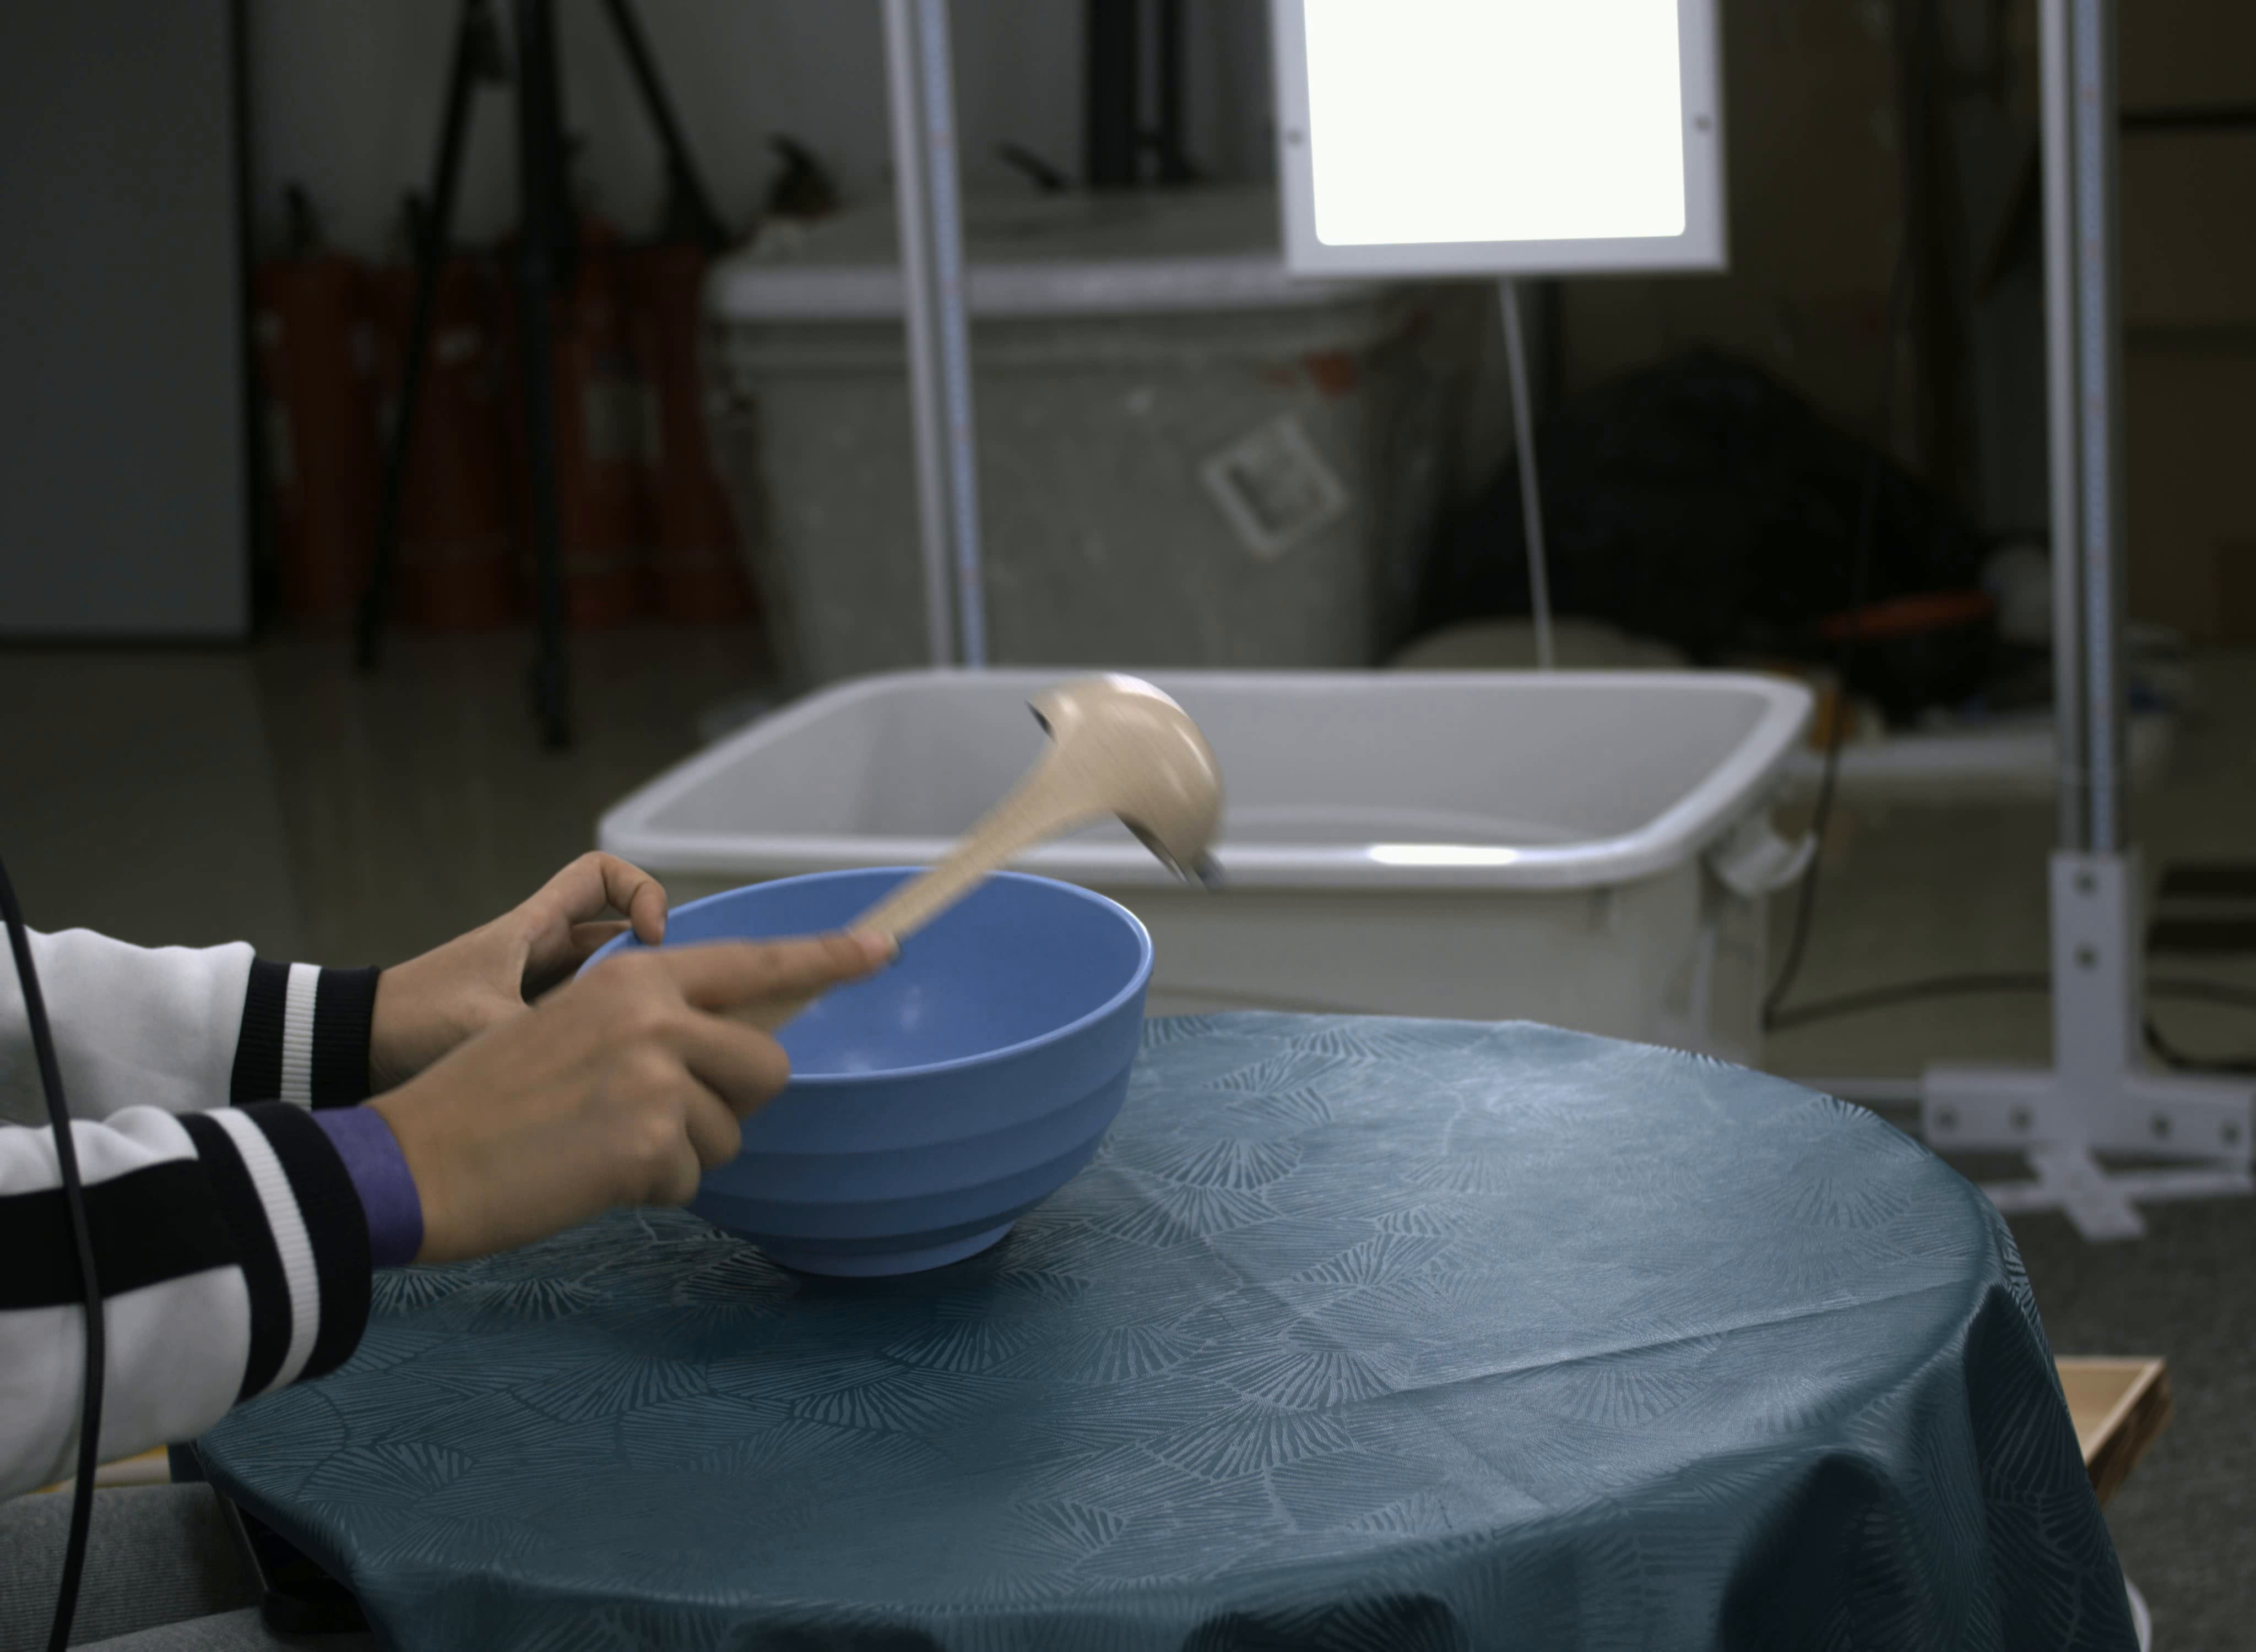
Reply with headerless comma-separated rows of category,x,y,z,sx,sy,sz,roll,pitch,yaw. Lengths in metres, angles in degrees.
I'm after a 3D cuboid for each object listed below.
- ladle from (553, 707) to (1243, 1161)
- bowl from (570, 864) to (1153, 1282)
ladle,-0.072,0.046,1.625,0.250,0.072,0.073,-33,-18,-25
bowl,-0.087,0.092,1.861,0.196,0.096,0.196,-4,21,0
